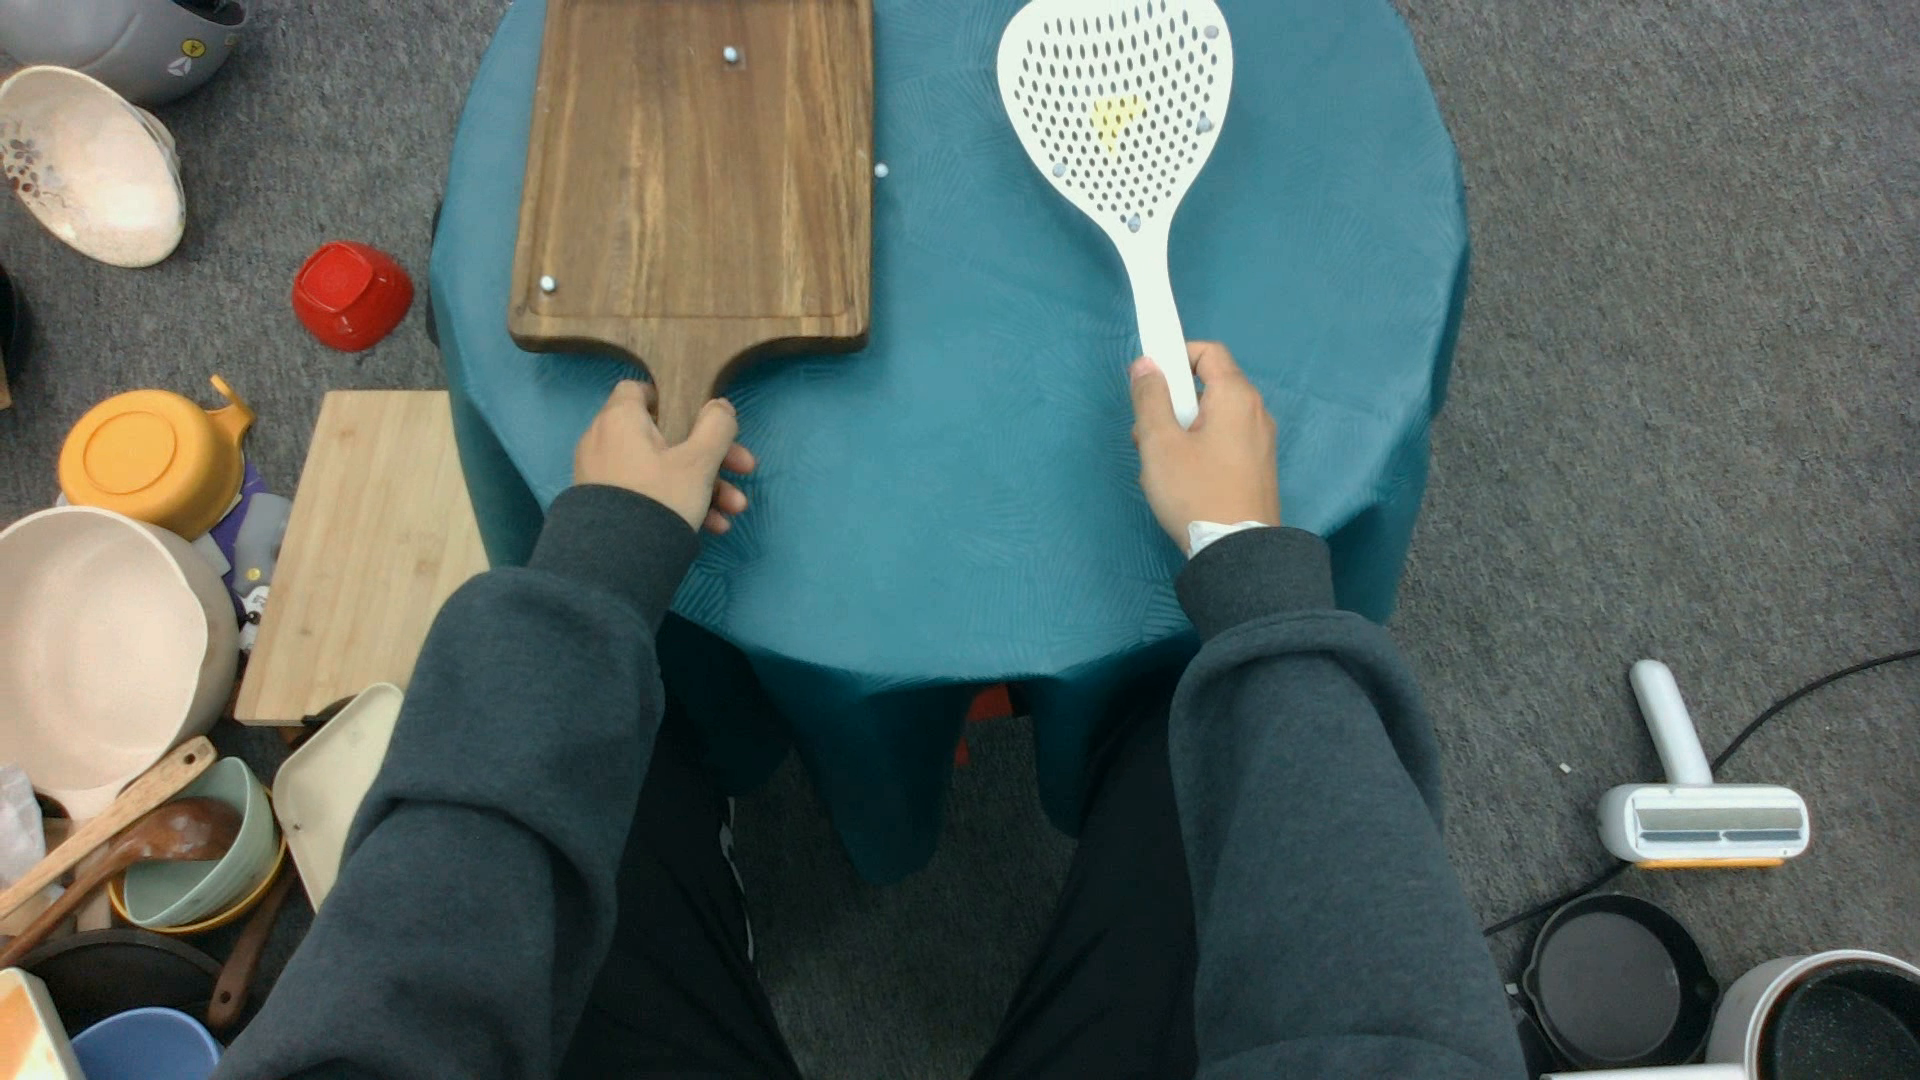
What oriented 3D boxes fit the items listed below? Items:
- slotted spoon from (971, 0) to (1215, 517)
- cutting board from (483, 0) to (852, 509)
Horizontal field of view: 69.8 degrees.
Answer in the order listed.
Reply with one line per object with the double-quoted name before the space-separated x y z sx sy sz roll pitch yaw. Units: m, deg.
"slotted spoon" 0.092 -0.177 0.769 0.137 0.050 0.349 -9 65 0
"cutting board" -0.161 -0.181 0.775 0.201 0.023 0.353 -1 67 -2
